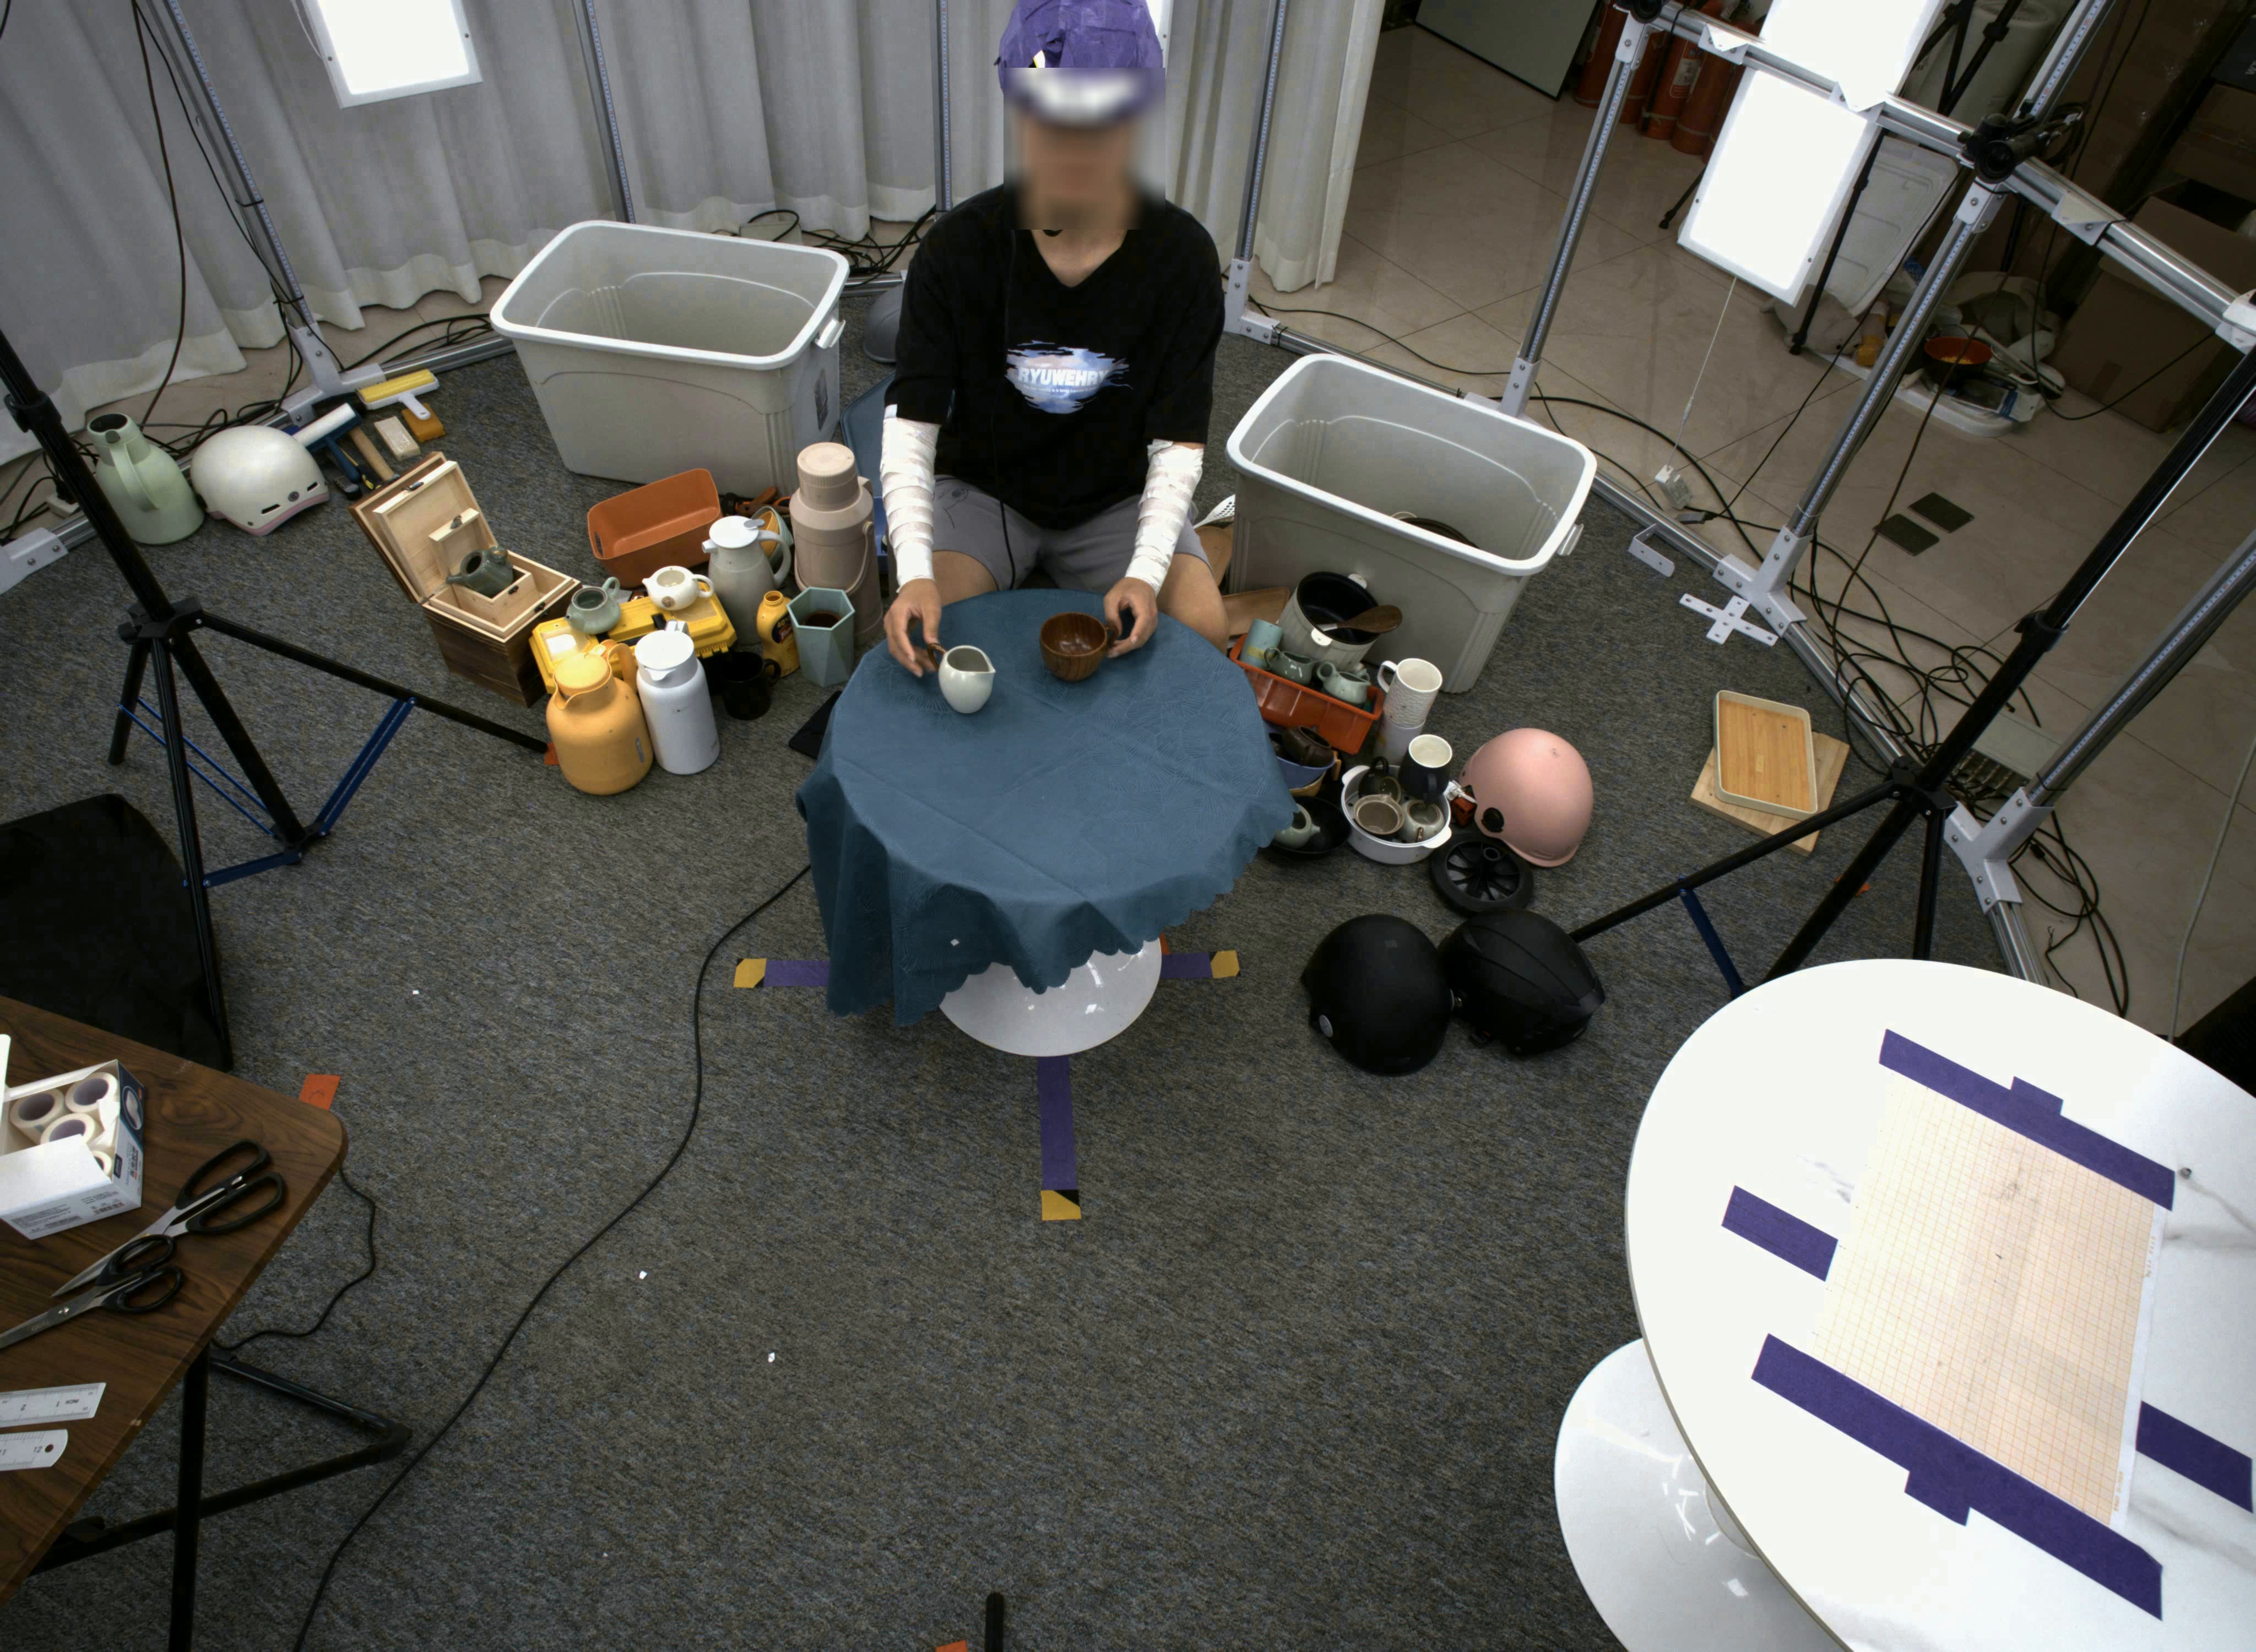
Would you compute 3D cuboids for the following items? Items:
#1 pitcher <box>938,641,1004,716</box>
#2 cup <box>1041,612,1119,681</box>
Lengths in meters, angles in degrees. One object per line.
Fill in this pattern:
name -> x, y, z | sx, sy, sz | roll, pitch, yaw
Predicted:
pitcher -> -0.220, -0.203, 1.777 | 0.120, 0.086, 0.076 | 37, 51, 20
cup -> -0.067, -0.256, 1.847 | 0.119, 0.066, 0.098 | -18, 50, -20
